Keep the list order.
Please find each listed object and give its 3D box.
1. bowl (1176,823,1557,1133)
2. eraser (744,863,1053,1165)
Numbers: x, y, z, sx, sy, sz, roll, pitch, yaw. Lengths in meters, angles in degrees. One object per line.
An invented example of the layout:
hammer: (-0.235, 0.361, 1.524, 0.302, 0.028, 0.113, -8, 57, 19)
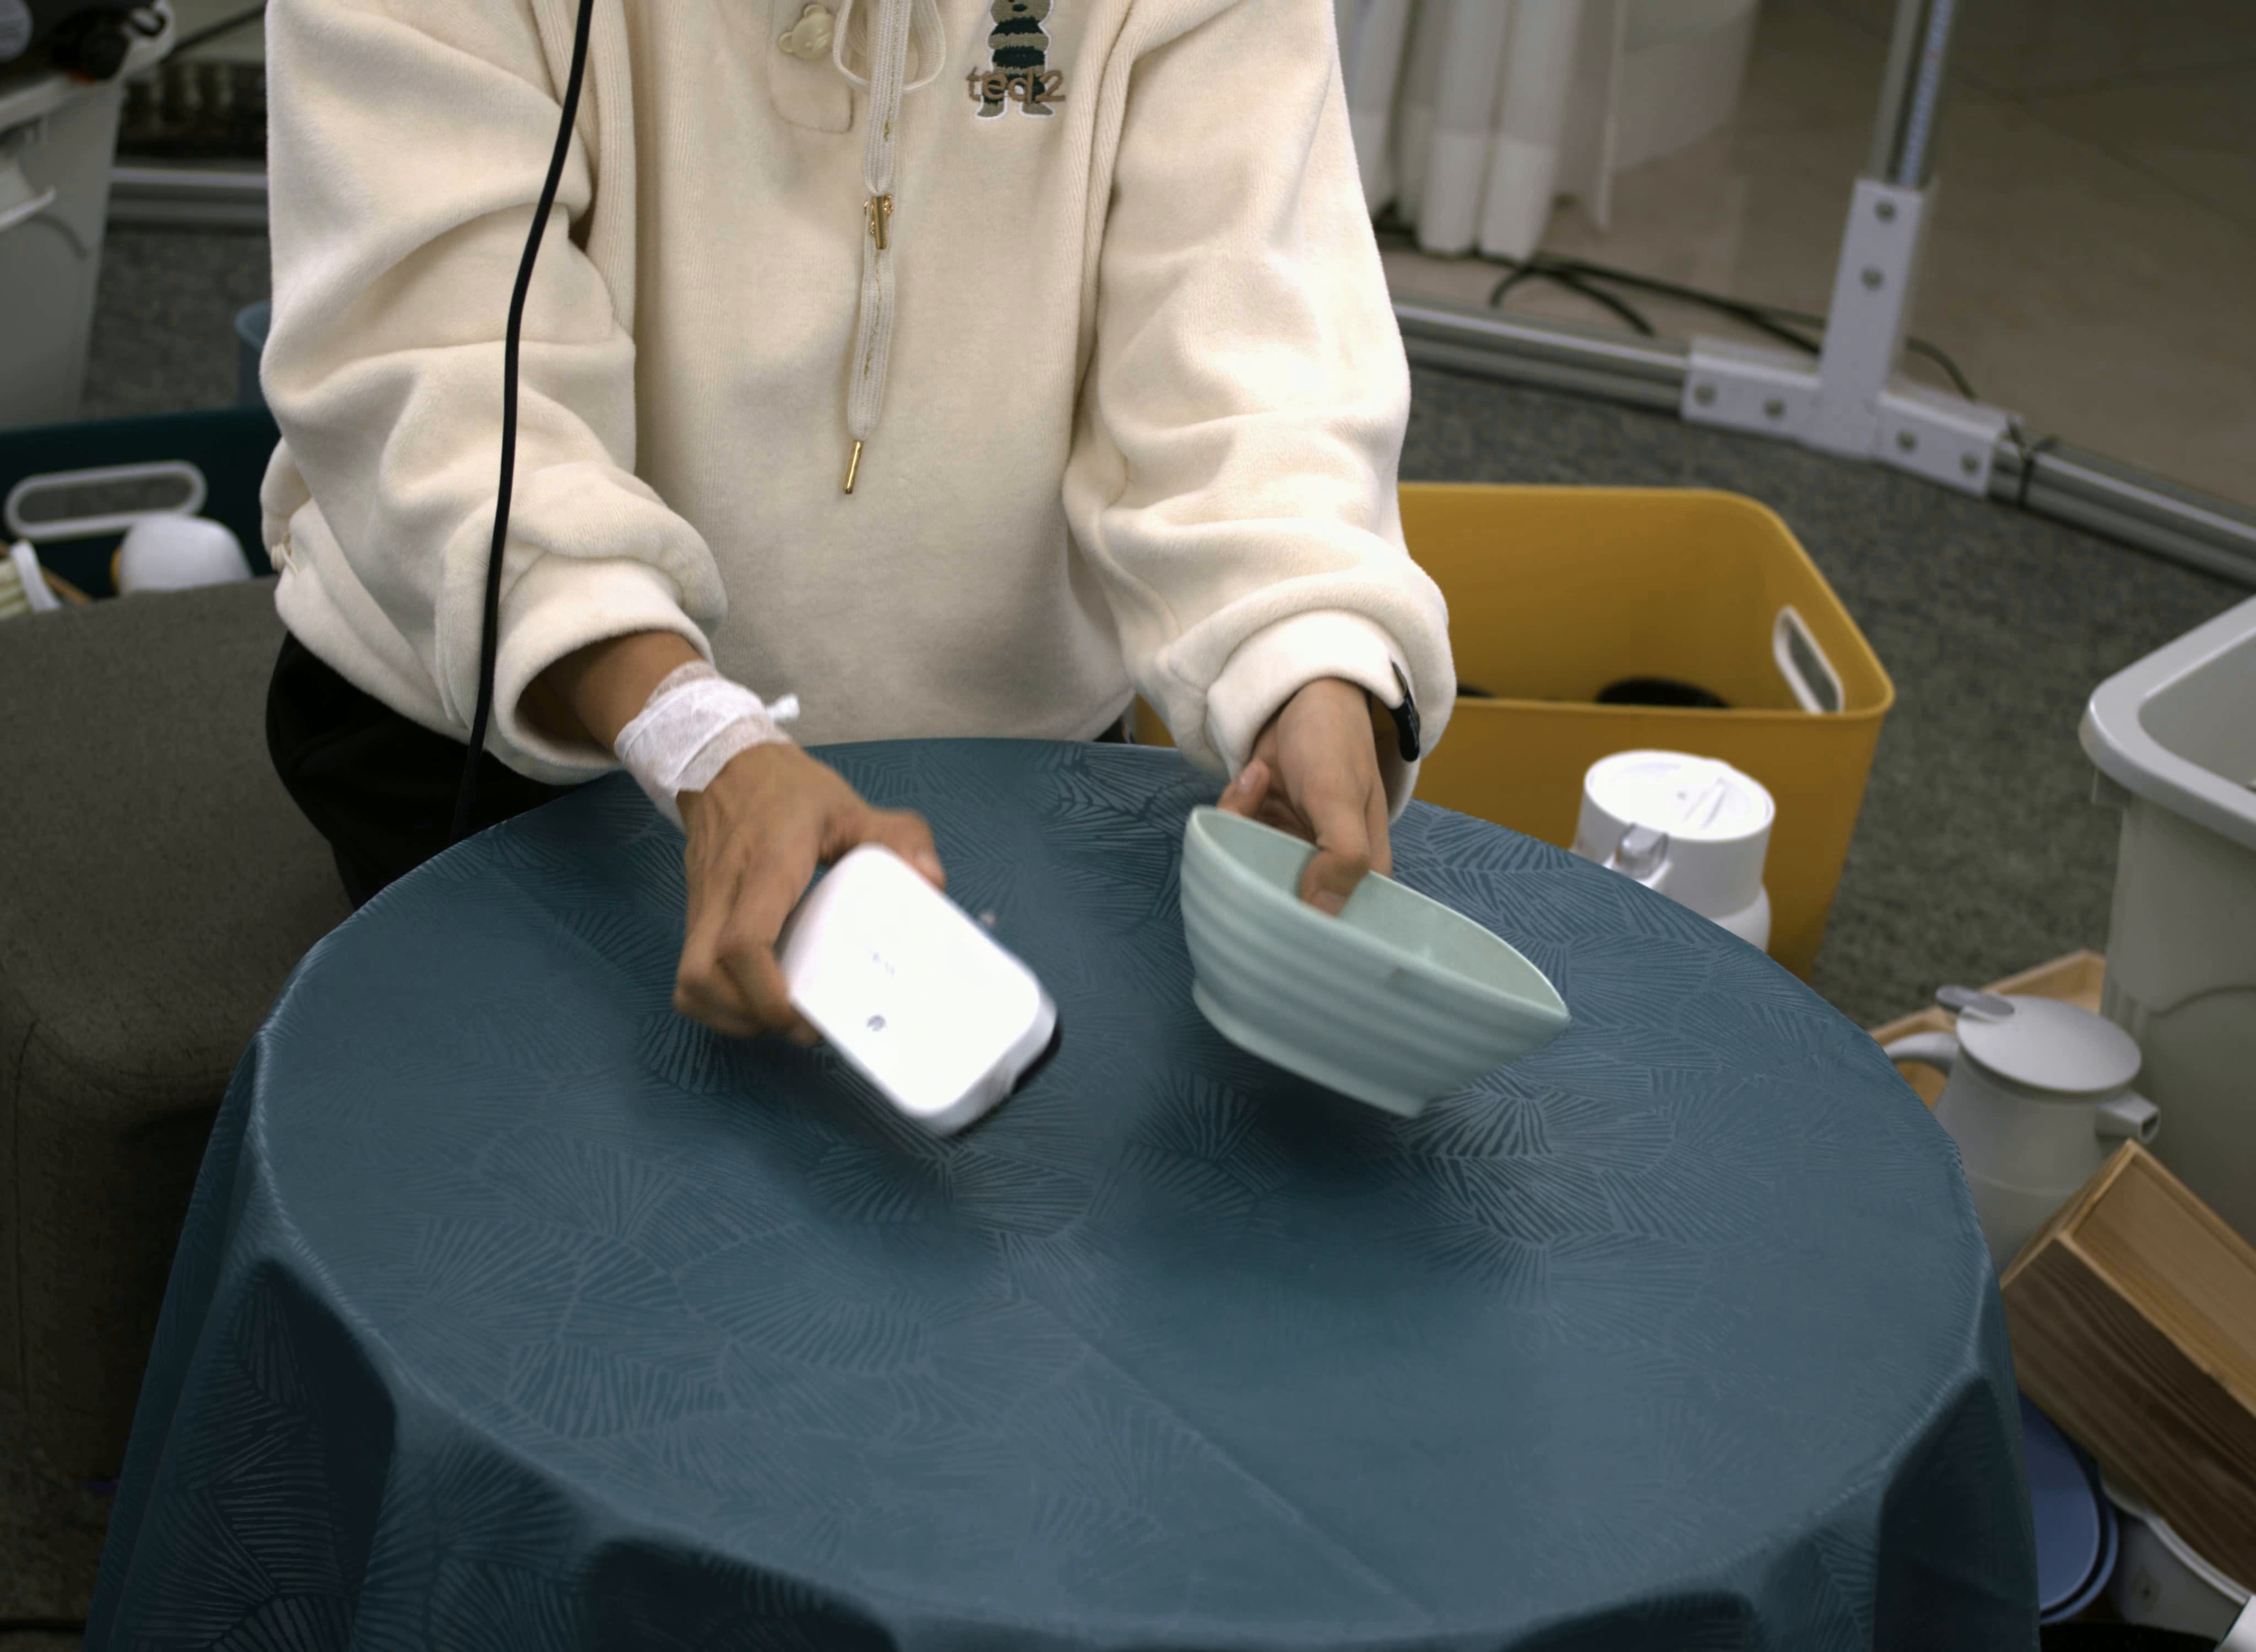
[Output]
bowl: (0.072, 0.058, 1.832, 0.151, 0.058, 0.152, 24, 9, -4)
eraser: (-0.077, 0.061, 1.803, 0.063, 0.034, 0.132, -41, 42, -7)
